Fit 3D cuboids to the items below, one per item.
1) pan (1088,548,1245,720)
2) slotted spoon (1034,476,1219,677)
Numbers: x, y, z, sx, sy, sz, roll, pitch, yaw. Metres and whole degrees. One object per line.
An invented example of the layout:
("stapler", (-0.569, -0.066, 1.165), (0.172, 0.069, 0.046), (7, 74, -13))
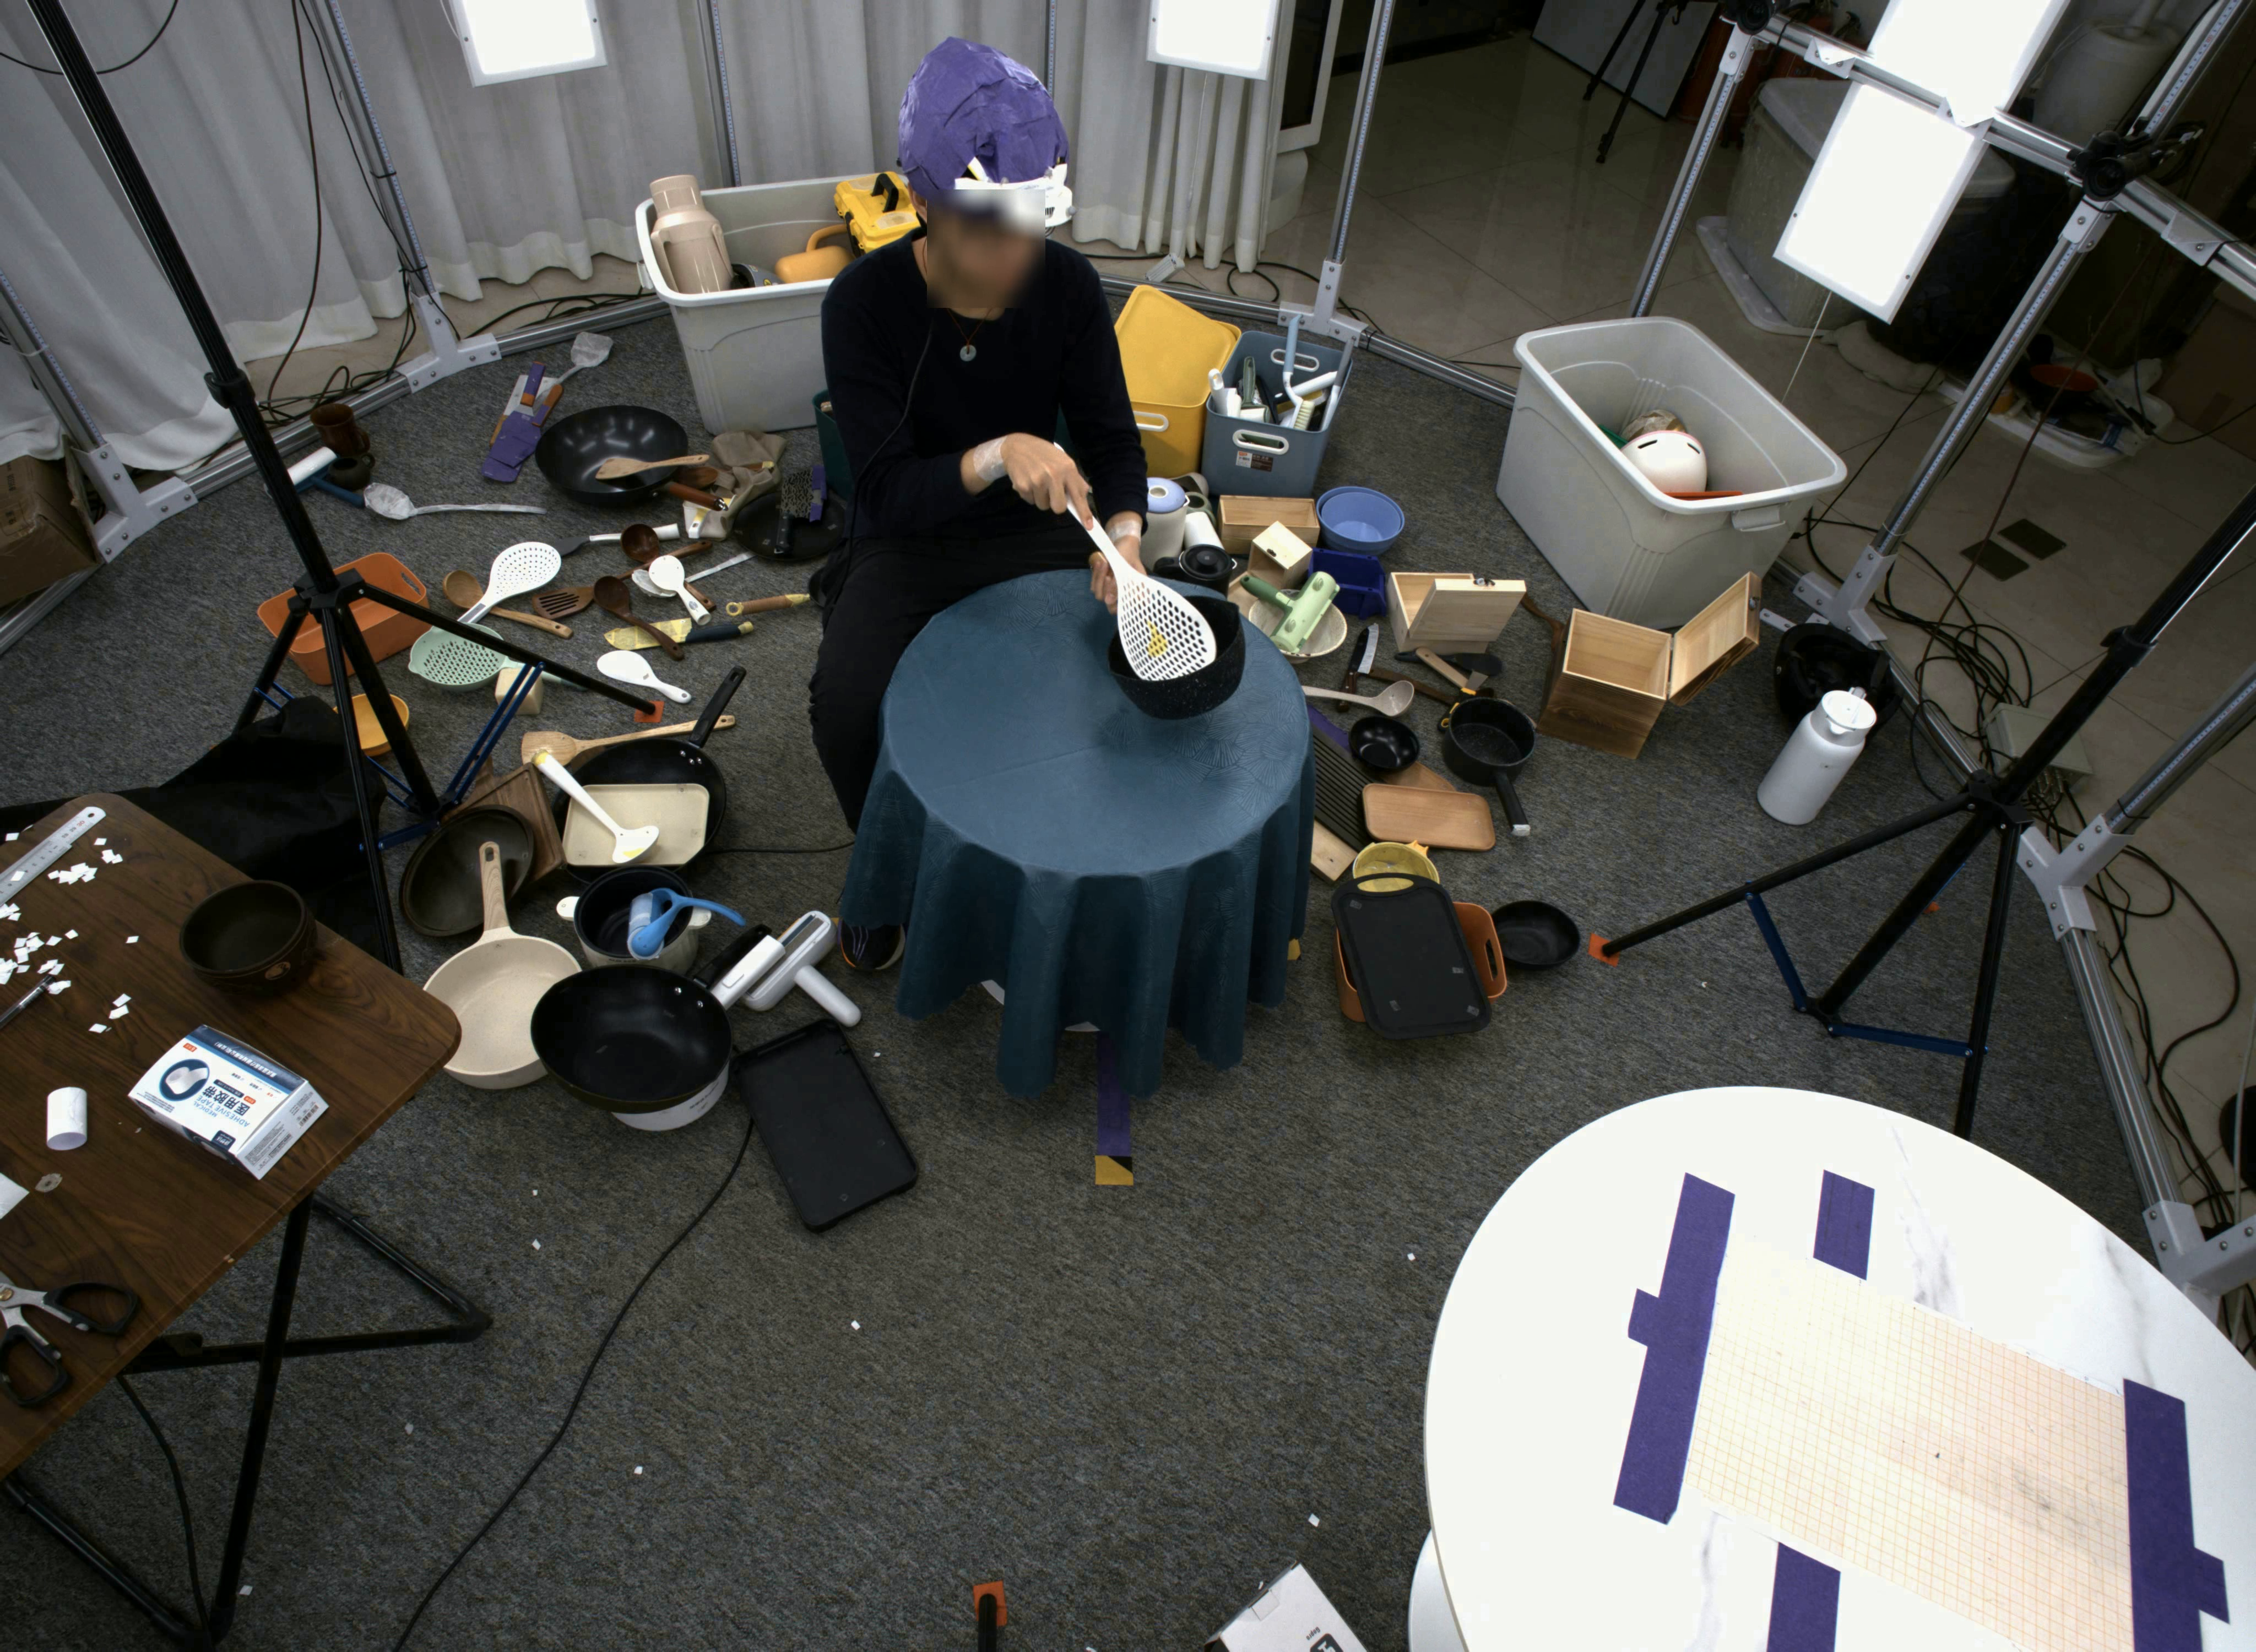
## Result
("pan", (0.033, -0.274, 1.788), (0.208, 0.105, 0.350), (-30, 43, -8))
("slotted spoon", (-0.009, -0.332, 1.736), (0.138, 0.050, 0.345), (-40, 102, -21))
